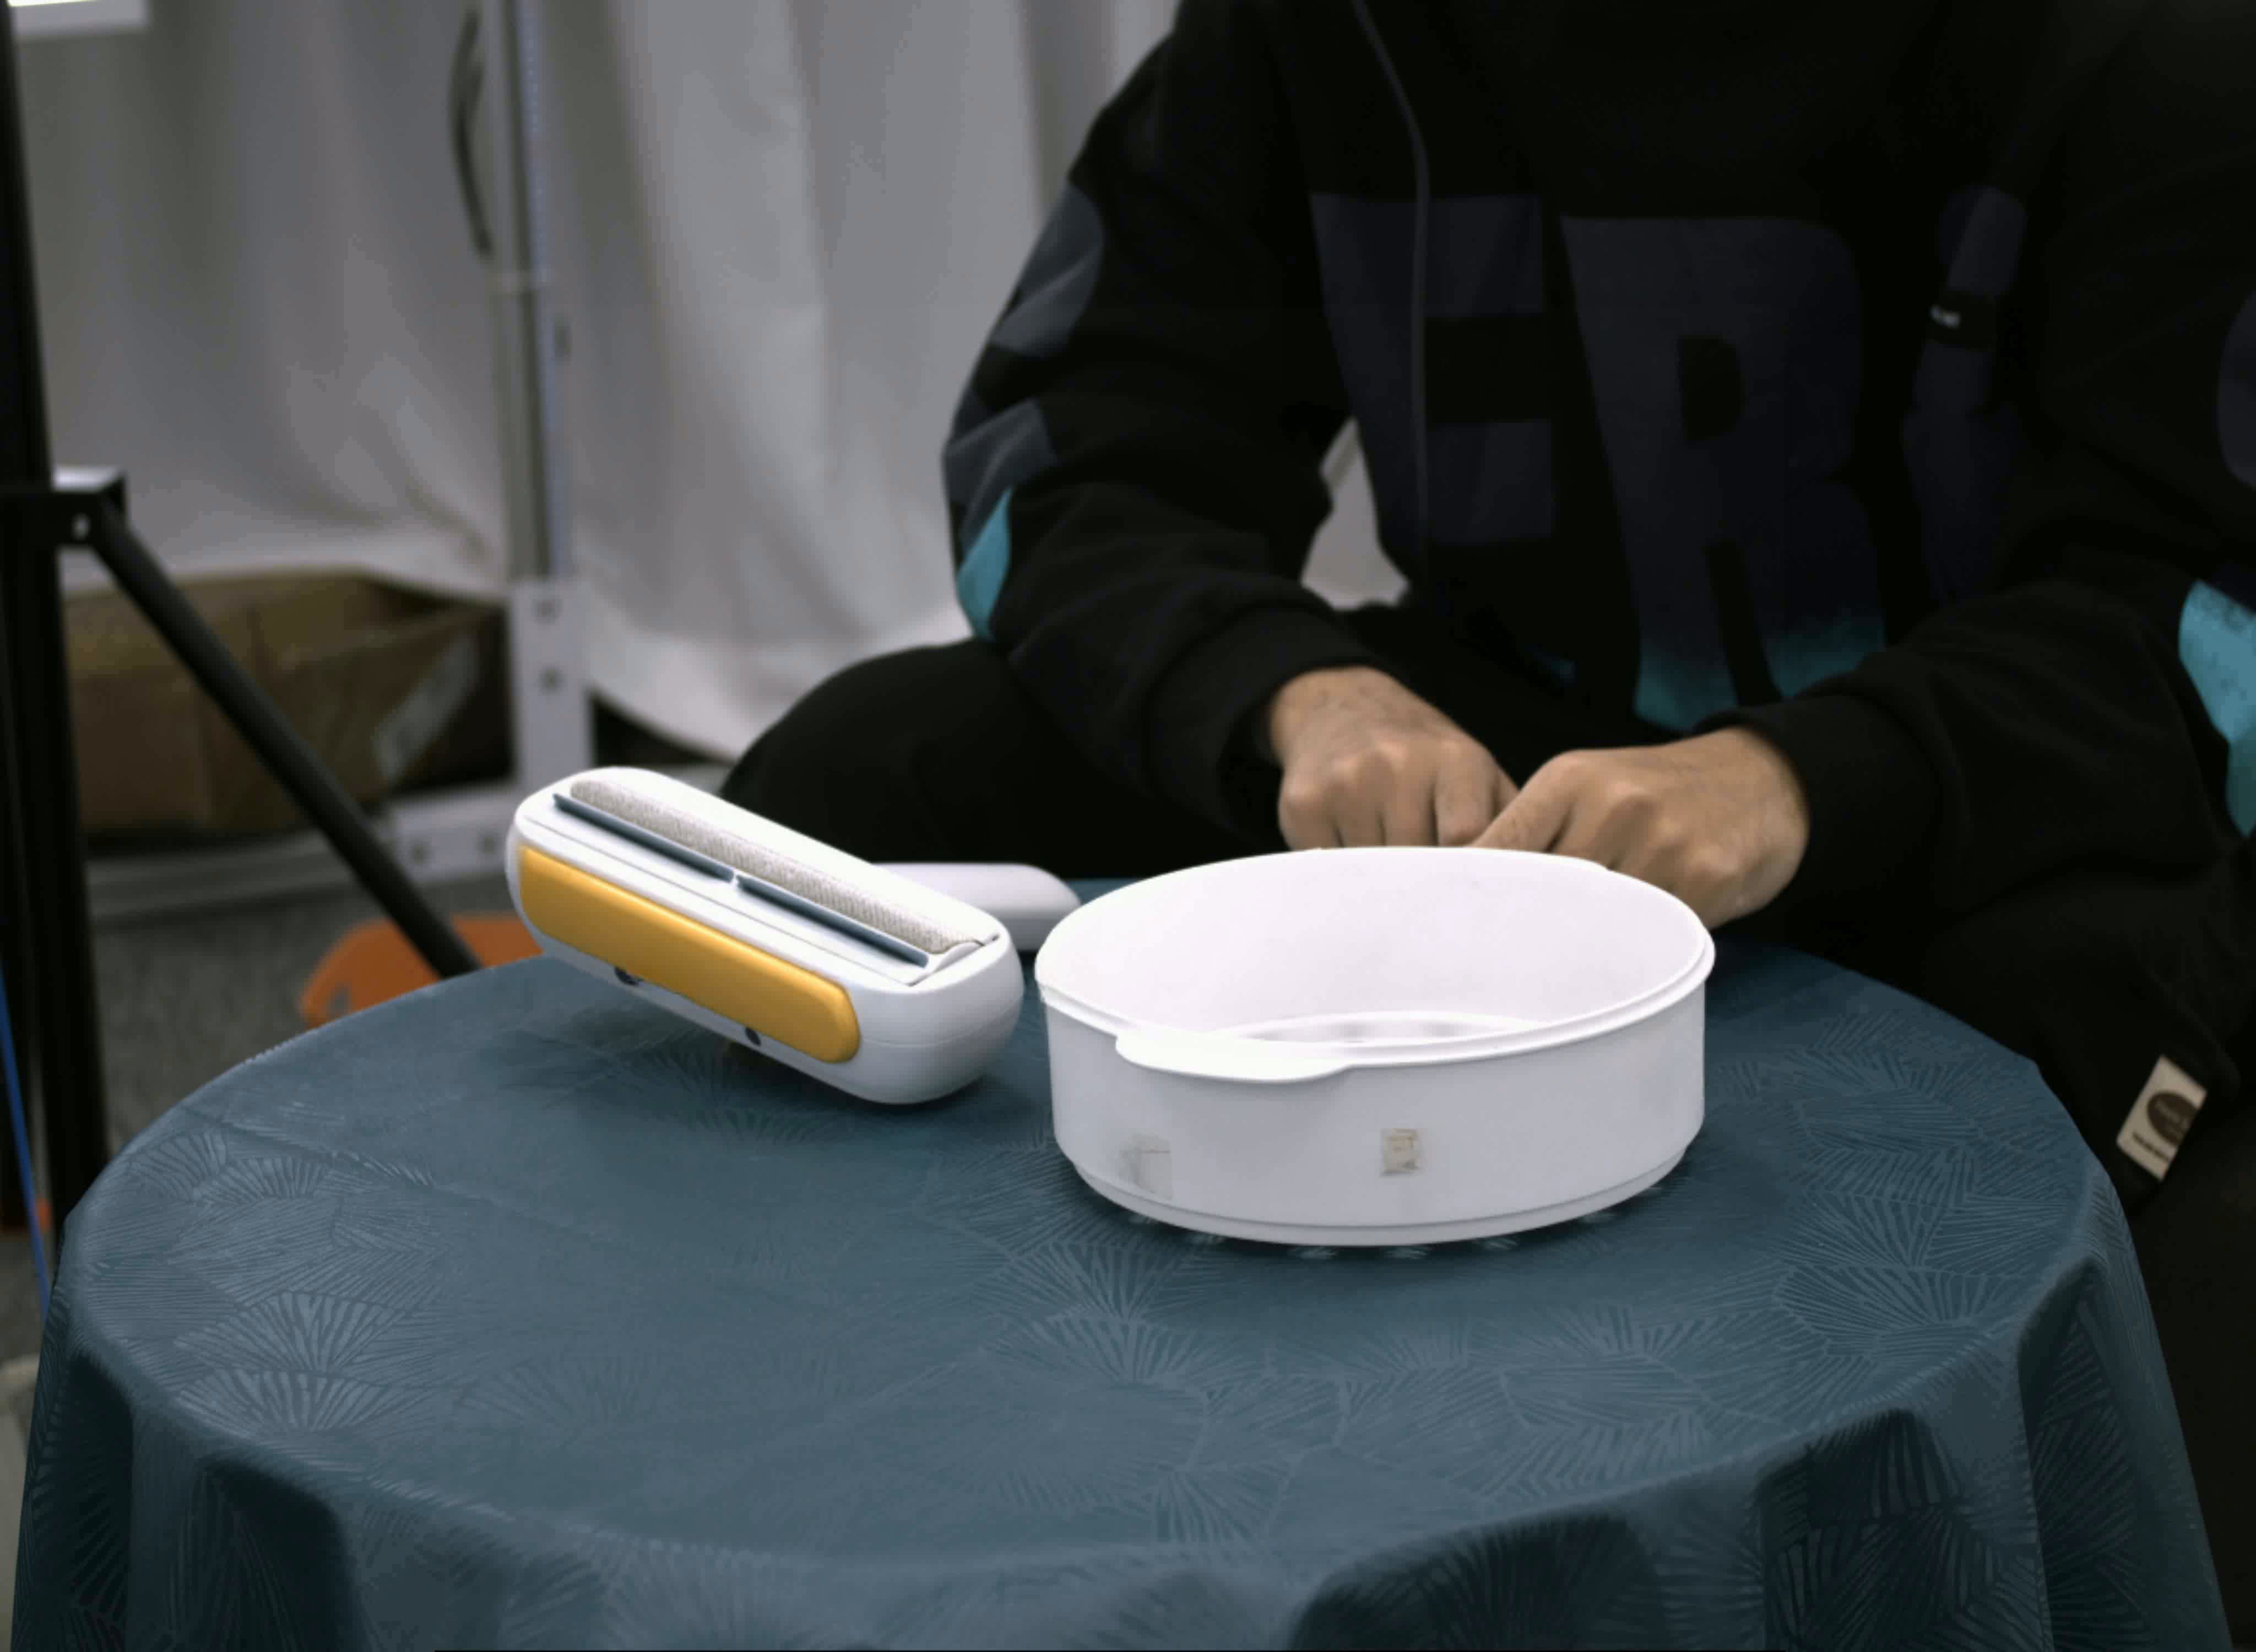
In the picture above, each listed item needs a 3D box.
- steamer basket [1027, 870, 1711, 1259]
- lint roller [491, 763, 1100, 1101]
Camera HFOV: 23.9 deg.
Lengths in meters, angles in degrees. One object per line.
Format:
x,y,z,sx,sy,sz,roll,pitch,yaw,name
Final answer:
0.070,0.070,1.566,0.205,0.069,0.226,8,16,28,steamer basket
-0.083,0.027,1.734,0.197,0.074,0.188,19,25,41,lint roller
